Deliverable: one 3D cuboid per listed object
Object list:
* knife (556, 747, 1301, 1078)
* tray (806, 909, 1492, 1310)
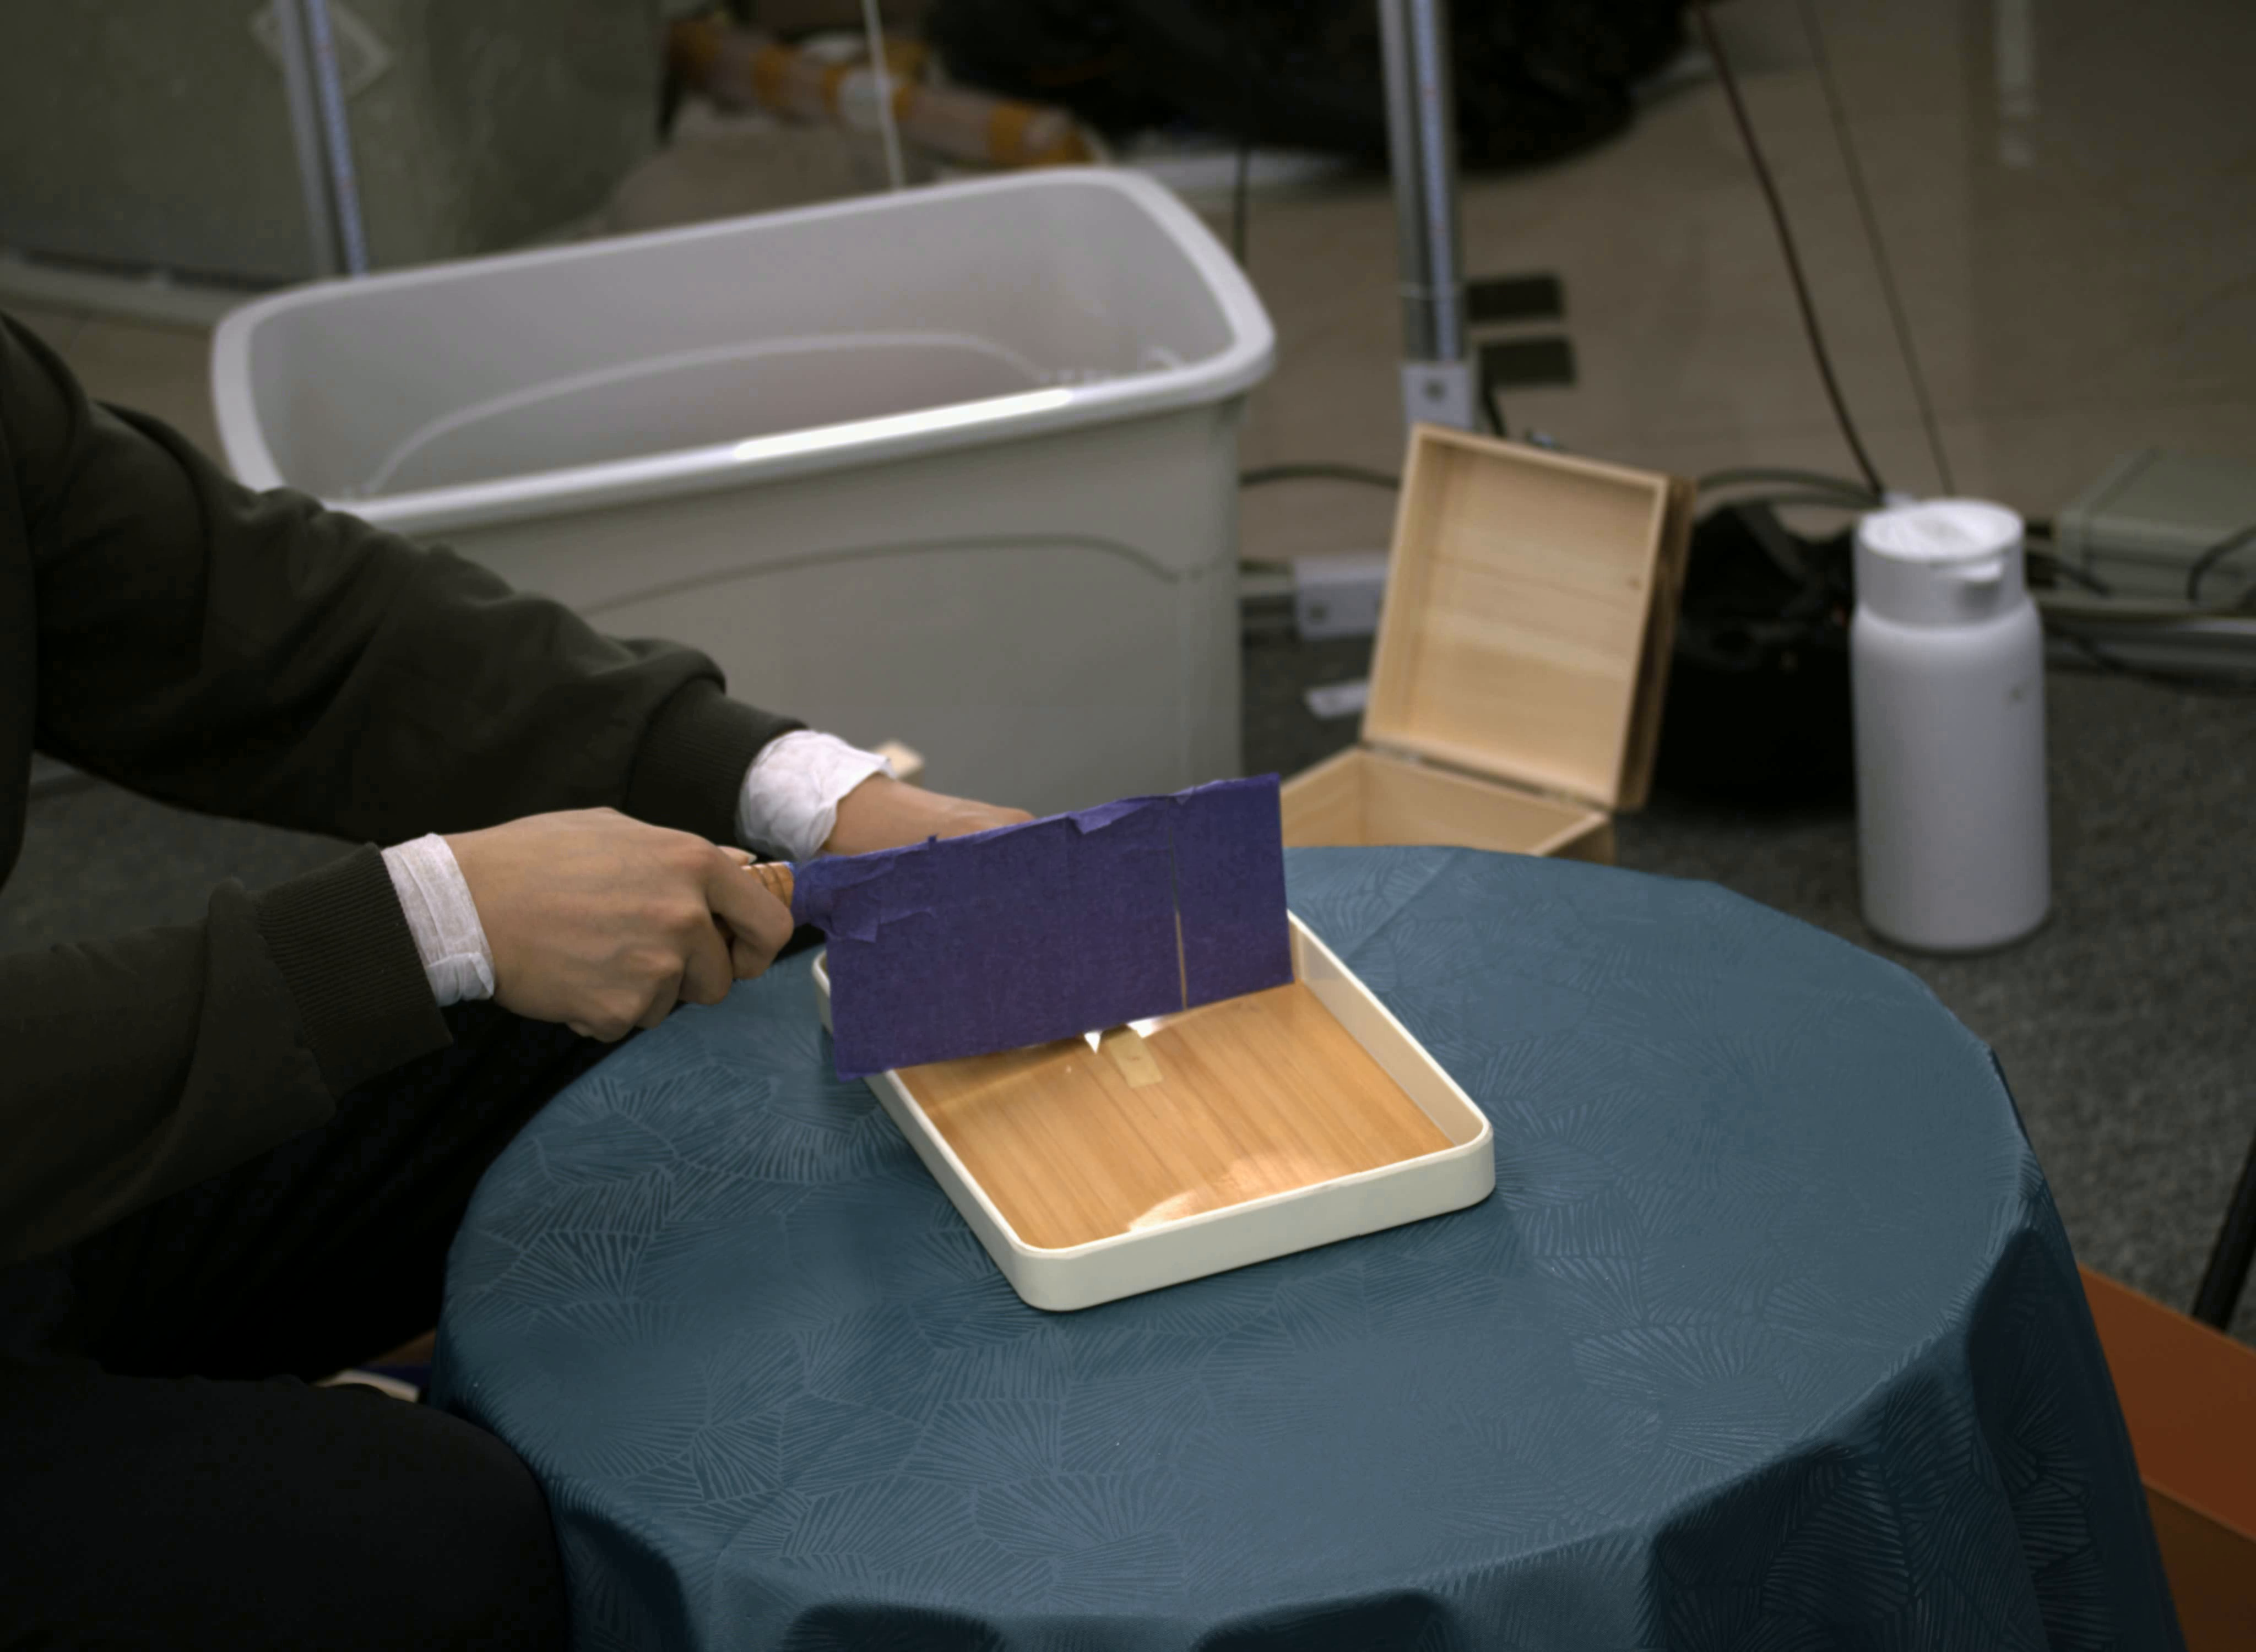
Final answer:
[{"bbox_3d":[-0.069,0.047,2.202,0.314,0.105,0.032,-12,17,-25],"label":"knife"},{"bbox_3d":[0.003,0.095,2.212,0.191,0.028,0.296,-13,26,-15],"label":"tray"}]
